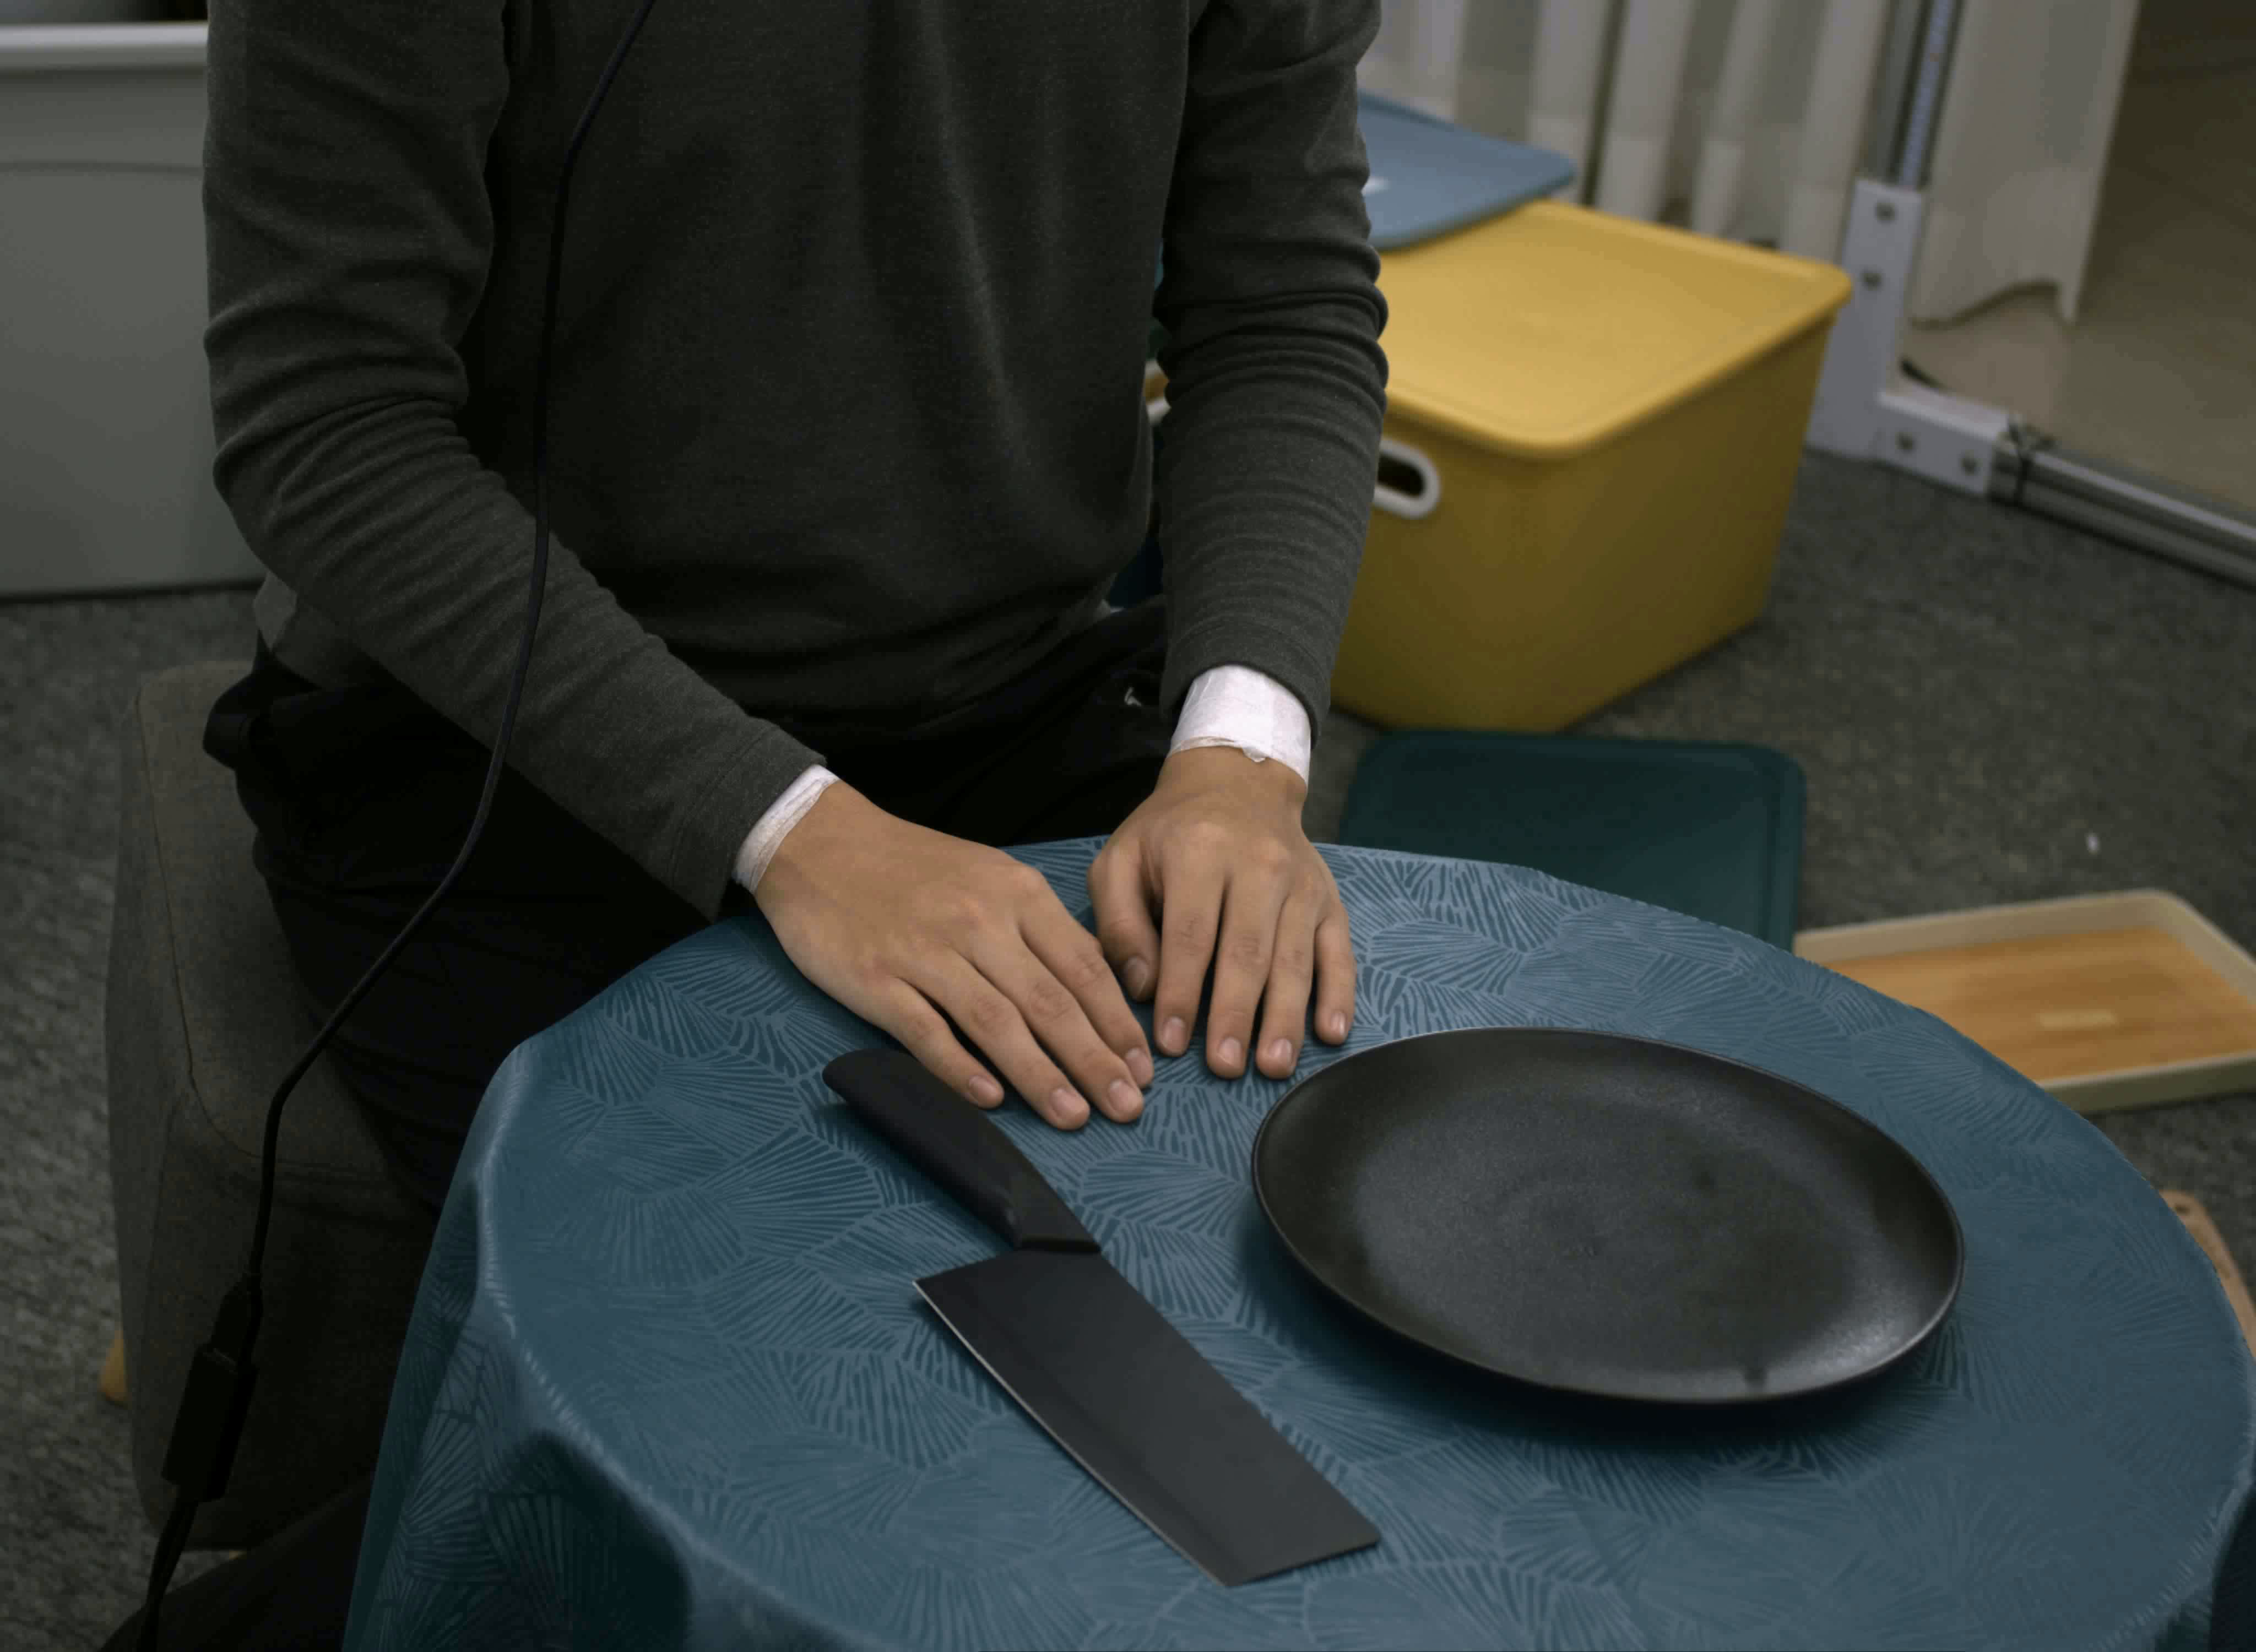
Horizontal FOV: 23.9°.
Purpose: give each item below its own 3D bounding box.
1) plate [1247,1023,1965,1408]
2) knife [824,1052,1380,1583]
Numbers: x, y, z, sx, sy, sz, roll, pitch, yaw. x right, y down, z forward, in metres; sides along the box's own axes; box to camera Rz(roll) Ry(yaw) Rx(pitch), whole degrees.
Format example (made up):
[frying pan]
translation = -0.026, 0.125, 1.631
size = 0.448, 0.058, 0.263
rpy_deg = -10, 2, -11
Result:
[plate]
translation = 0.160, 0.135, 1.793
size = 0.243, 0.023, 0.246
rpy_deg = 5, 27, -3
[knife]
translation = -0.023, 0.155, 1.724
size = 0.080, 0.021, 0.305
rpy_deg = -9, 32, -27
